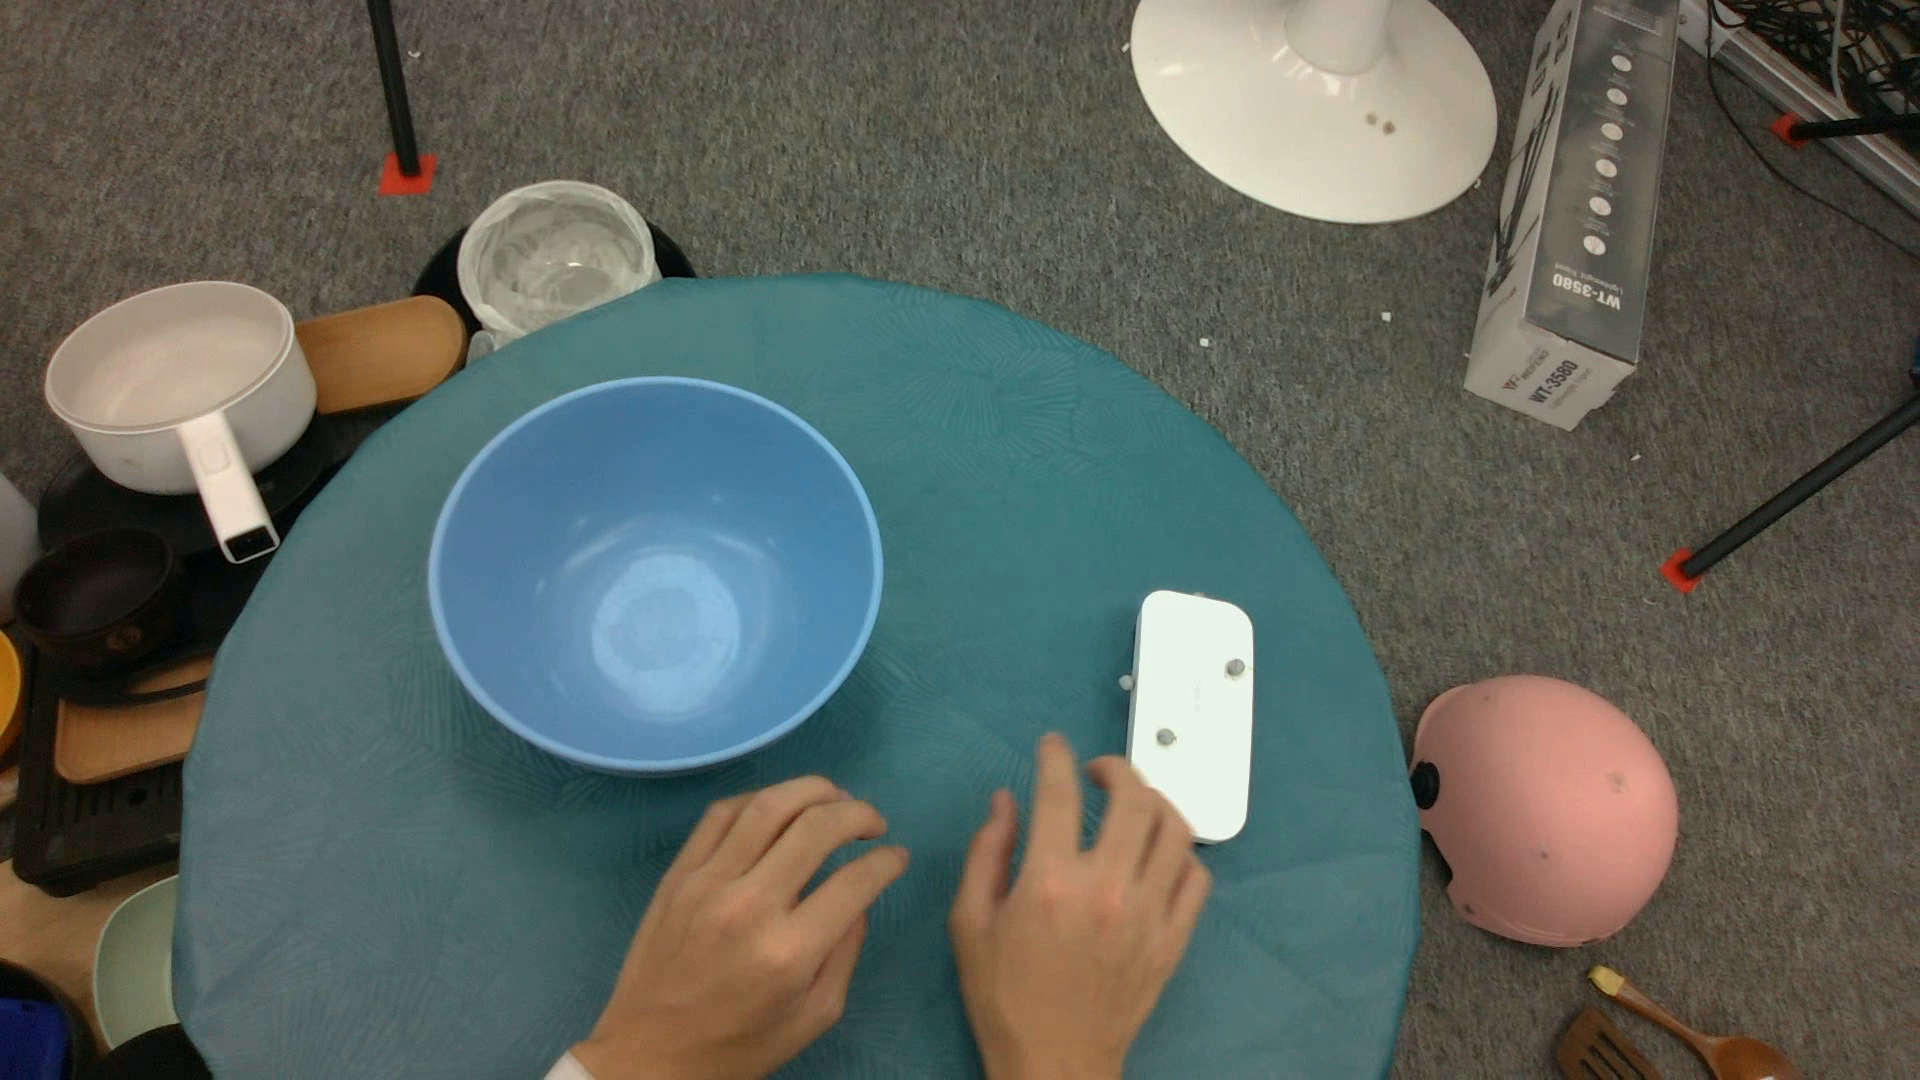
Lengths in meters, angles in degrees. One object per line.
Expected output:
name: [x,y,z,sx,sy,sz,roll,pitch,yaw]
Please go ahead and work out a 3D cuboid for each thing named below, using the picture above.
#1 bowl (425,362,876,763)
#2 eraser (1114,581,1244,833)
bowl: [-0.143,0.023,0.655,0.196,0.095,0.197,5,61,-9]
eraser: [0.112,0.084,0.709,0.063,0.034,0.132,11,60,-4]
